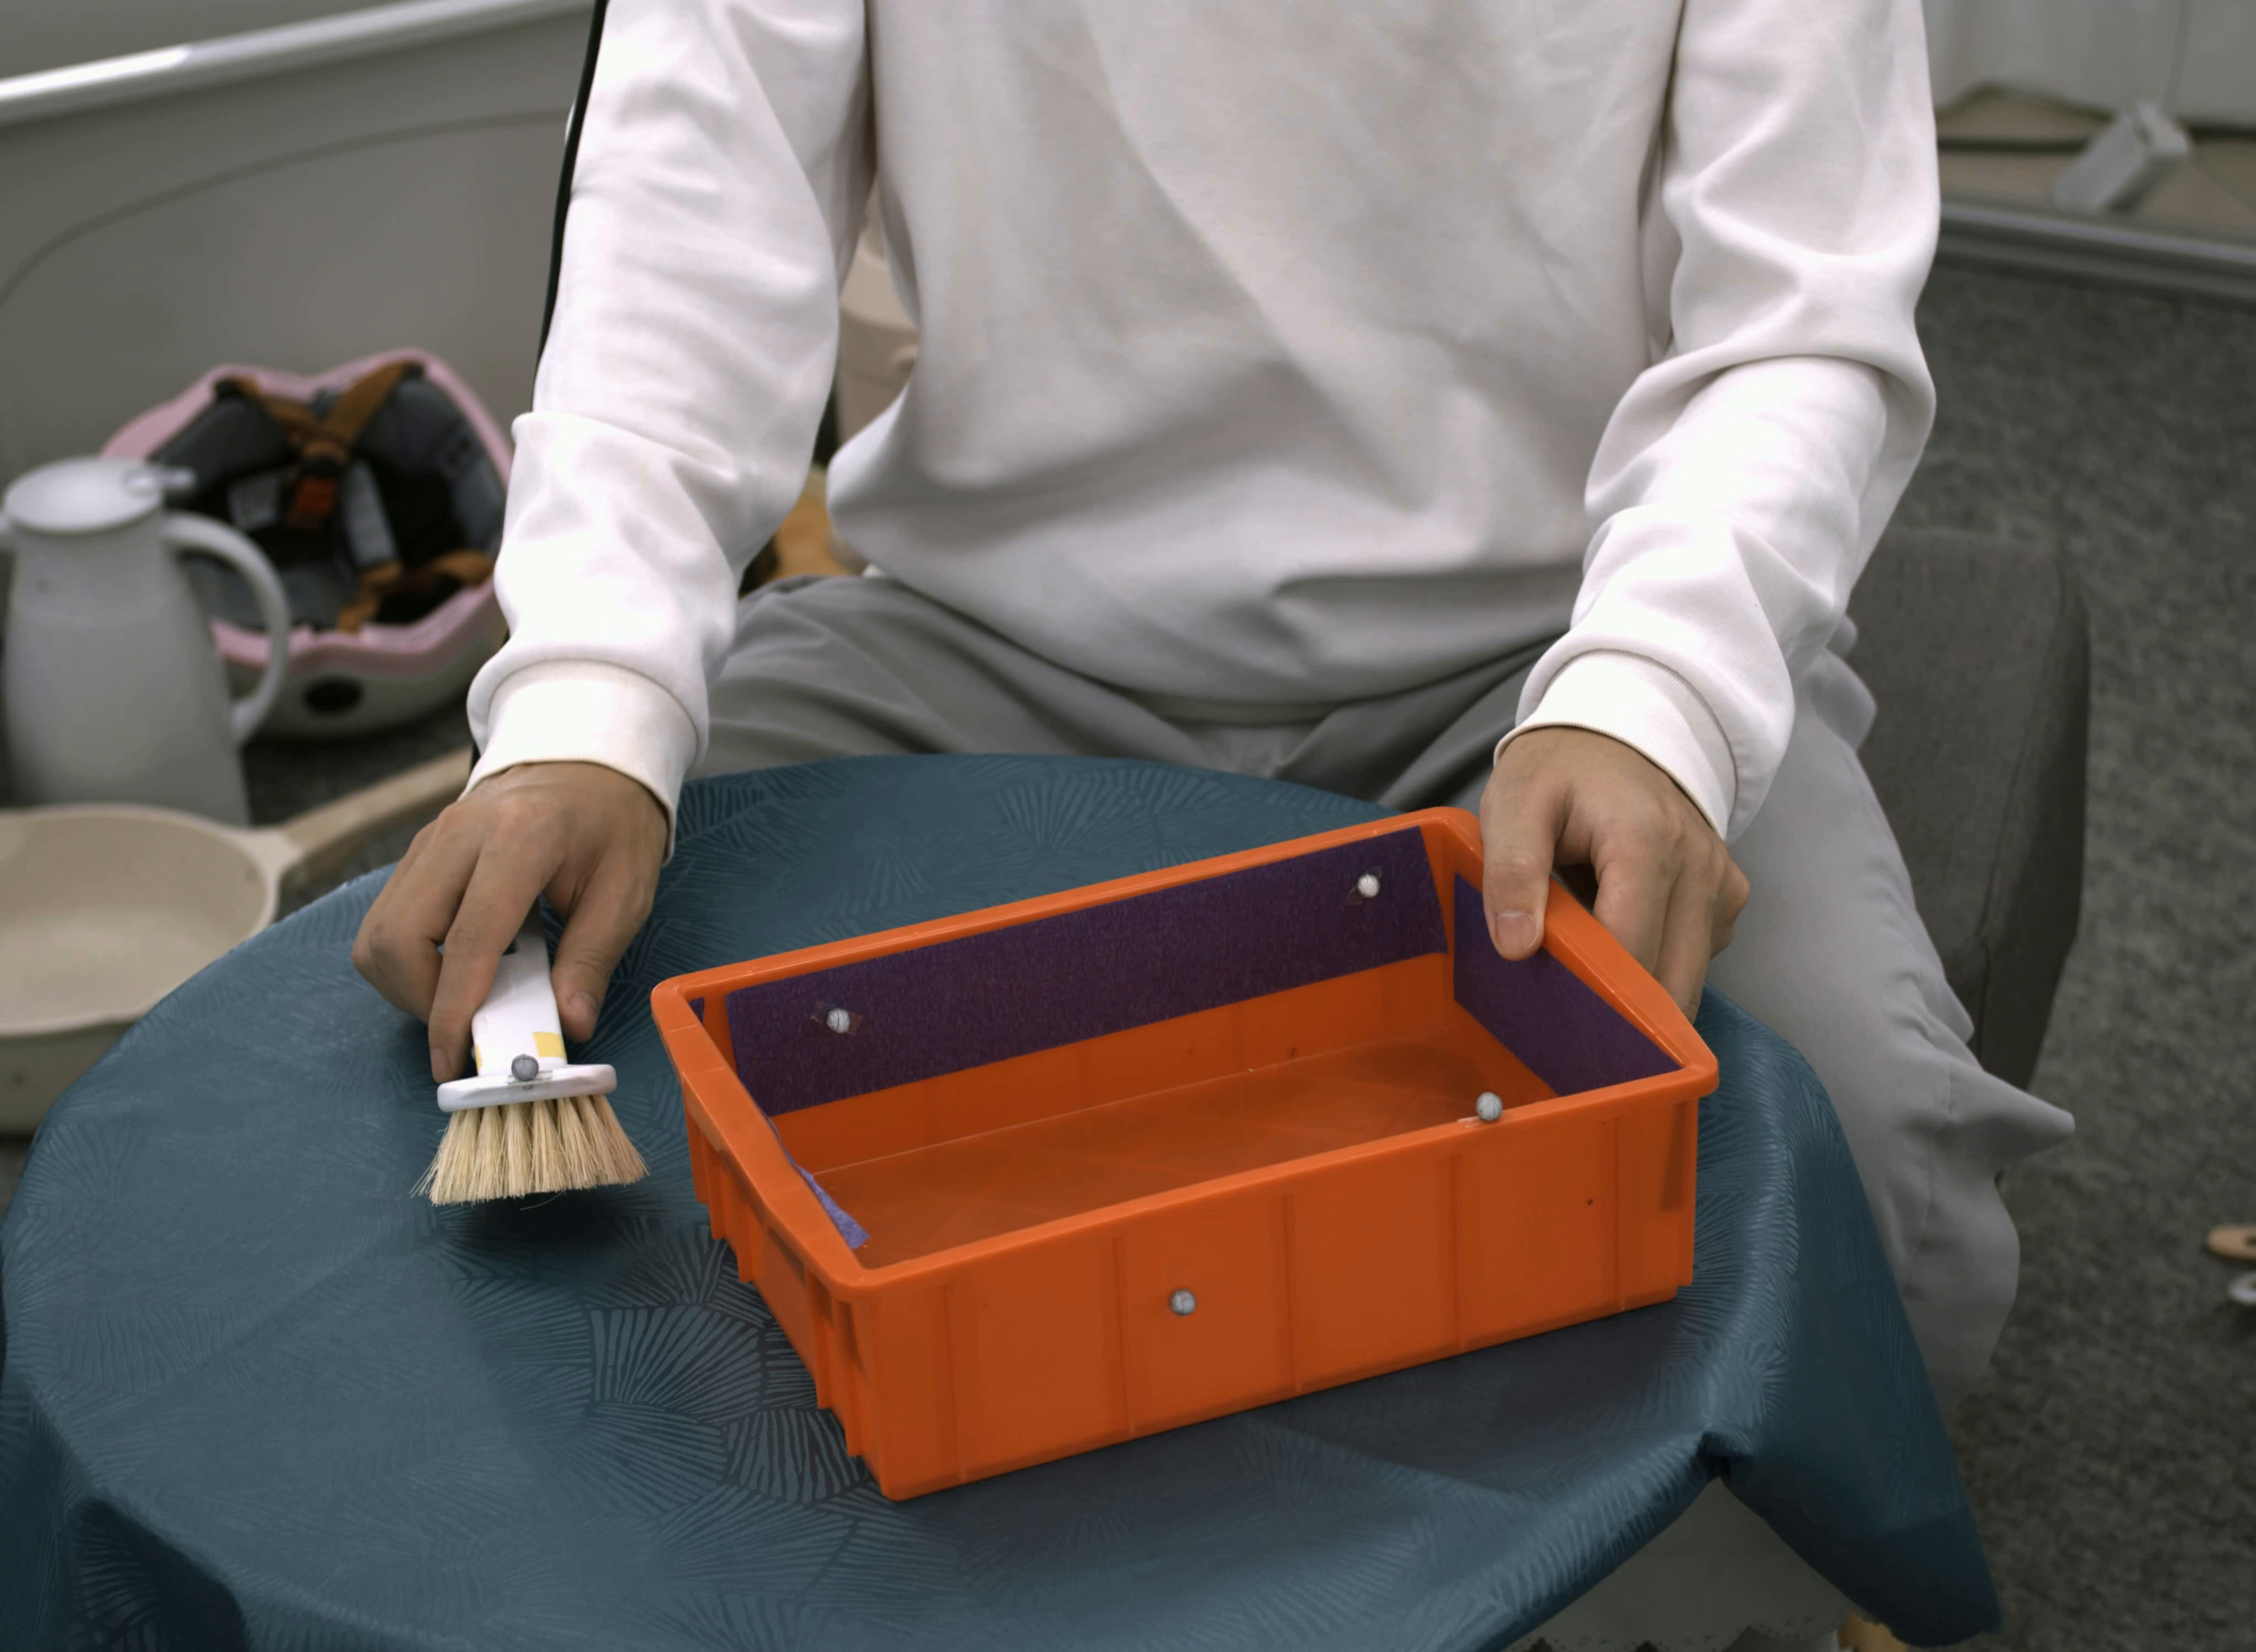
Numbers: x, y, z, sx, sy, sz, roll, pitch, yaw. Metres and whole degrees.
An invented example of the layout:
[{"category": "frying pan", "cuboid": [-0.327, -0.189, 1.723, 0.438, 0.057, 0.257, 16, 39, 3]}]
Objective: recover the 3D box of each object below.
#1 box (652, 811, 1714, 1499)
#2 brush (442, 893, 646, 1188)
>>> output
[{"category": "box", "cuboid": [0.015, 0.104, 1.806, 0.304, 0.095, 0.208, -10, 27, -19]}, {"category": "brush", "cuboid": [-0.206, 0.077, 1.949, 0.068, 0.056, 0.267, 6, 10, -10]}]
